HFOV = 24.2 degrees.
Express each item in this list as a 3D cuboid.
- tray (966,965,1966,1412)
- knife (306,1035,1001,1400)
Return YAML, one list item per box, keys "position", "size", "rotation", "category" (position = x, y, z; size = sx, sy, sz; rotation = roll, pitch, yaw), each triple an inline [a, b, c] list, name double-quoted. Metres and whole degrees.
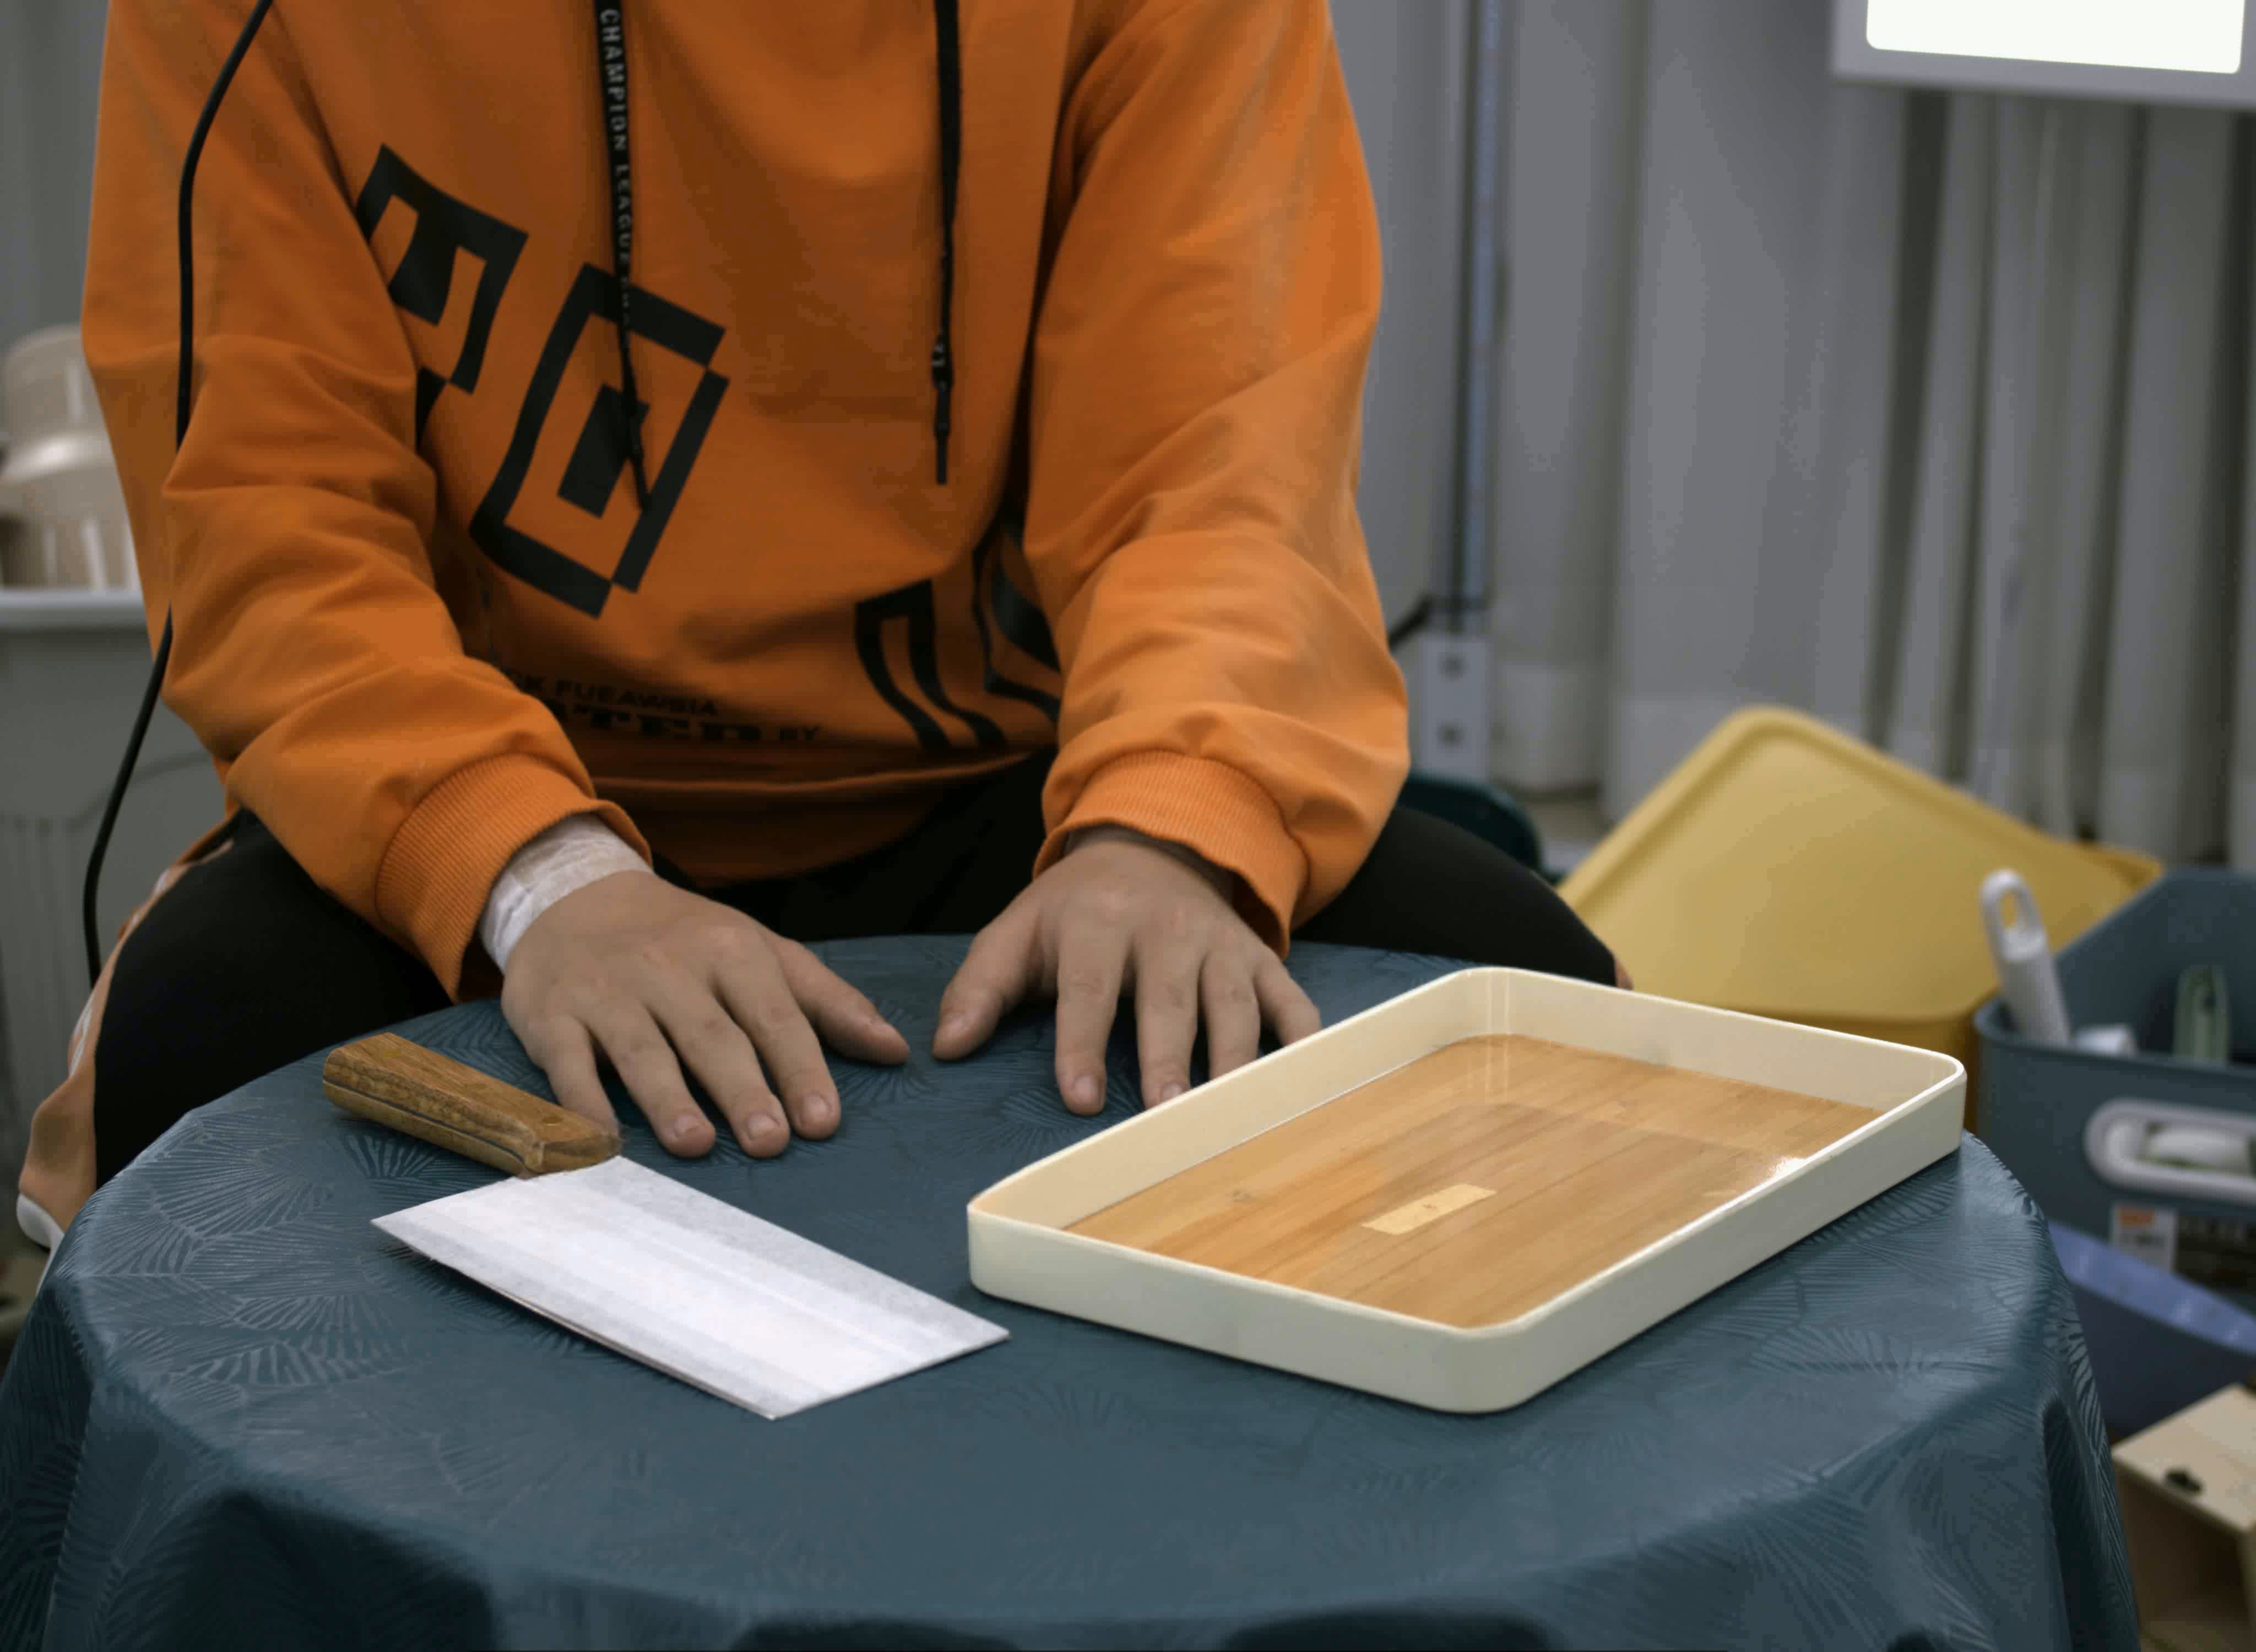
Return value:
- position: [0.108, 0.104, 1.602]
  size: [0.189, 0.027, 0.301]
  rotation: [11, 19, 34]
  category: "tray"
- position: [-0.167, 0.117, 1.571]
  size: [0.093, 0.021, 0.301]
  rotation: [-16, 25, -41]
  category: "knife"
